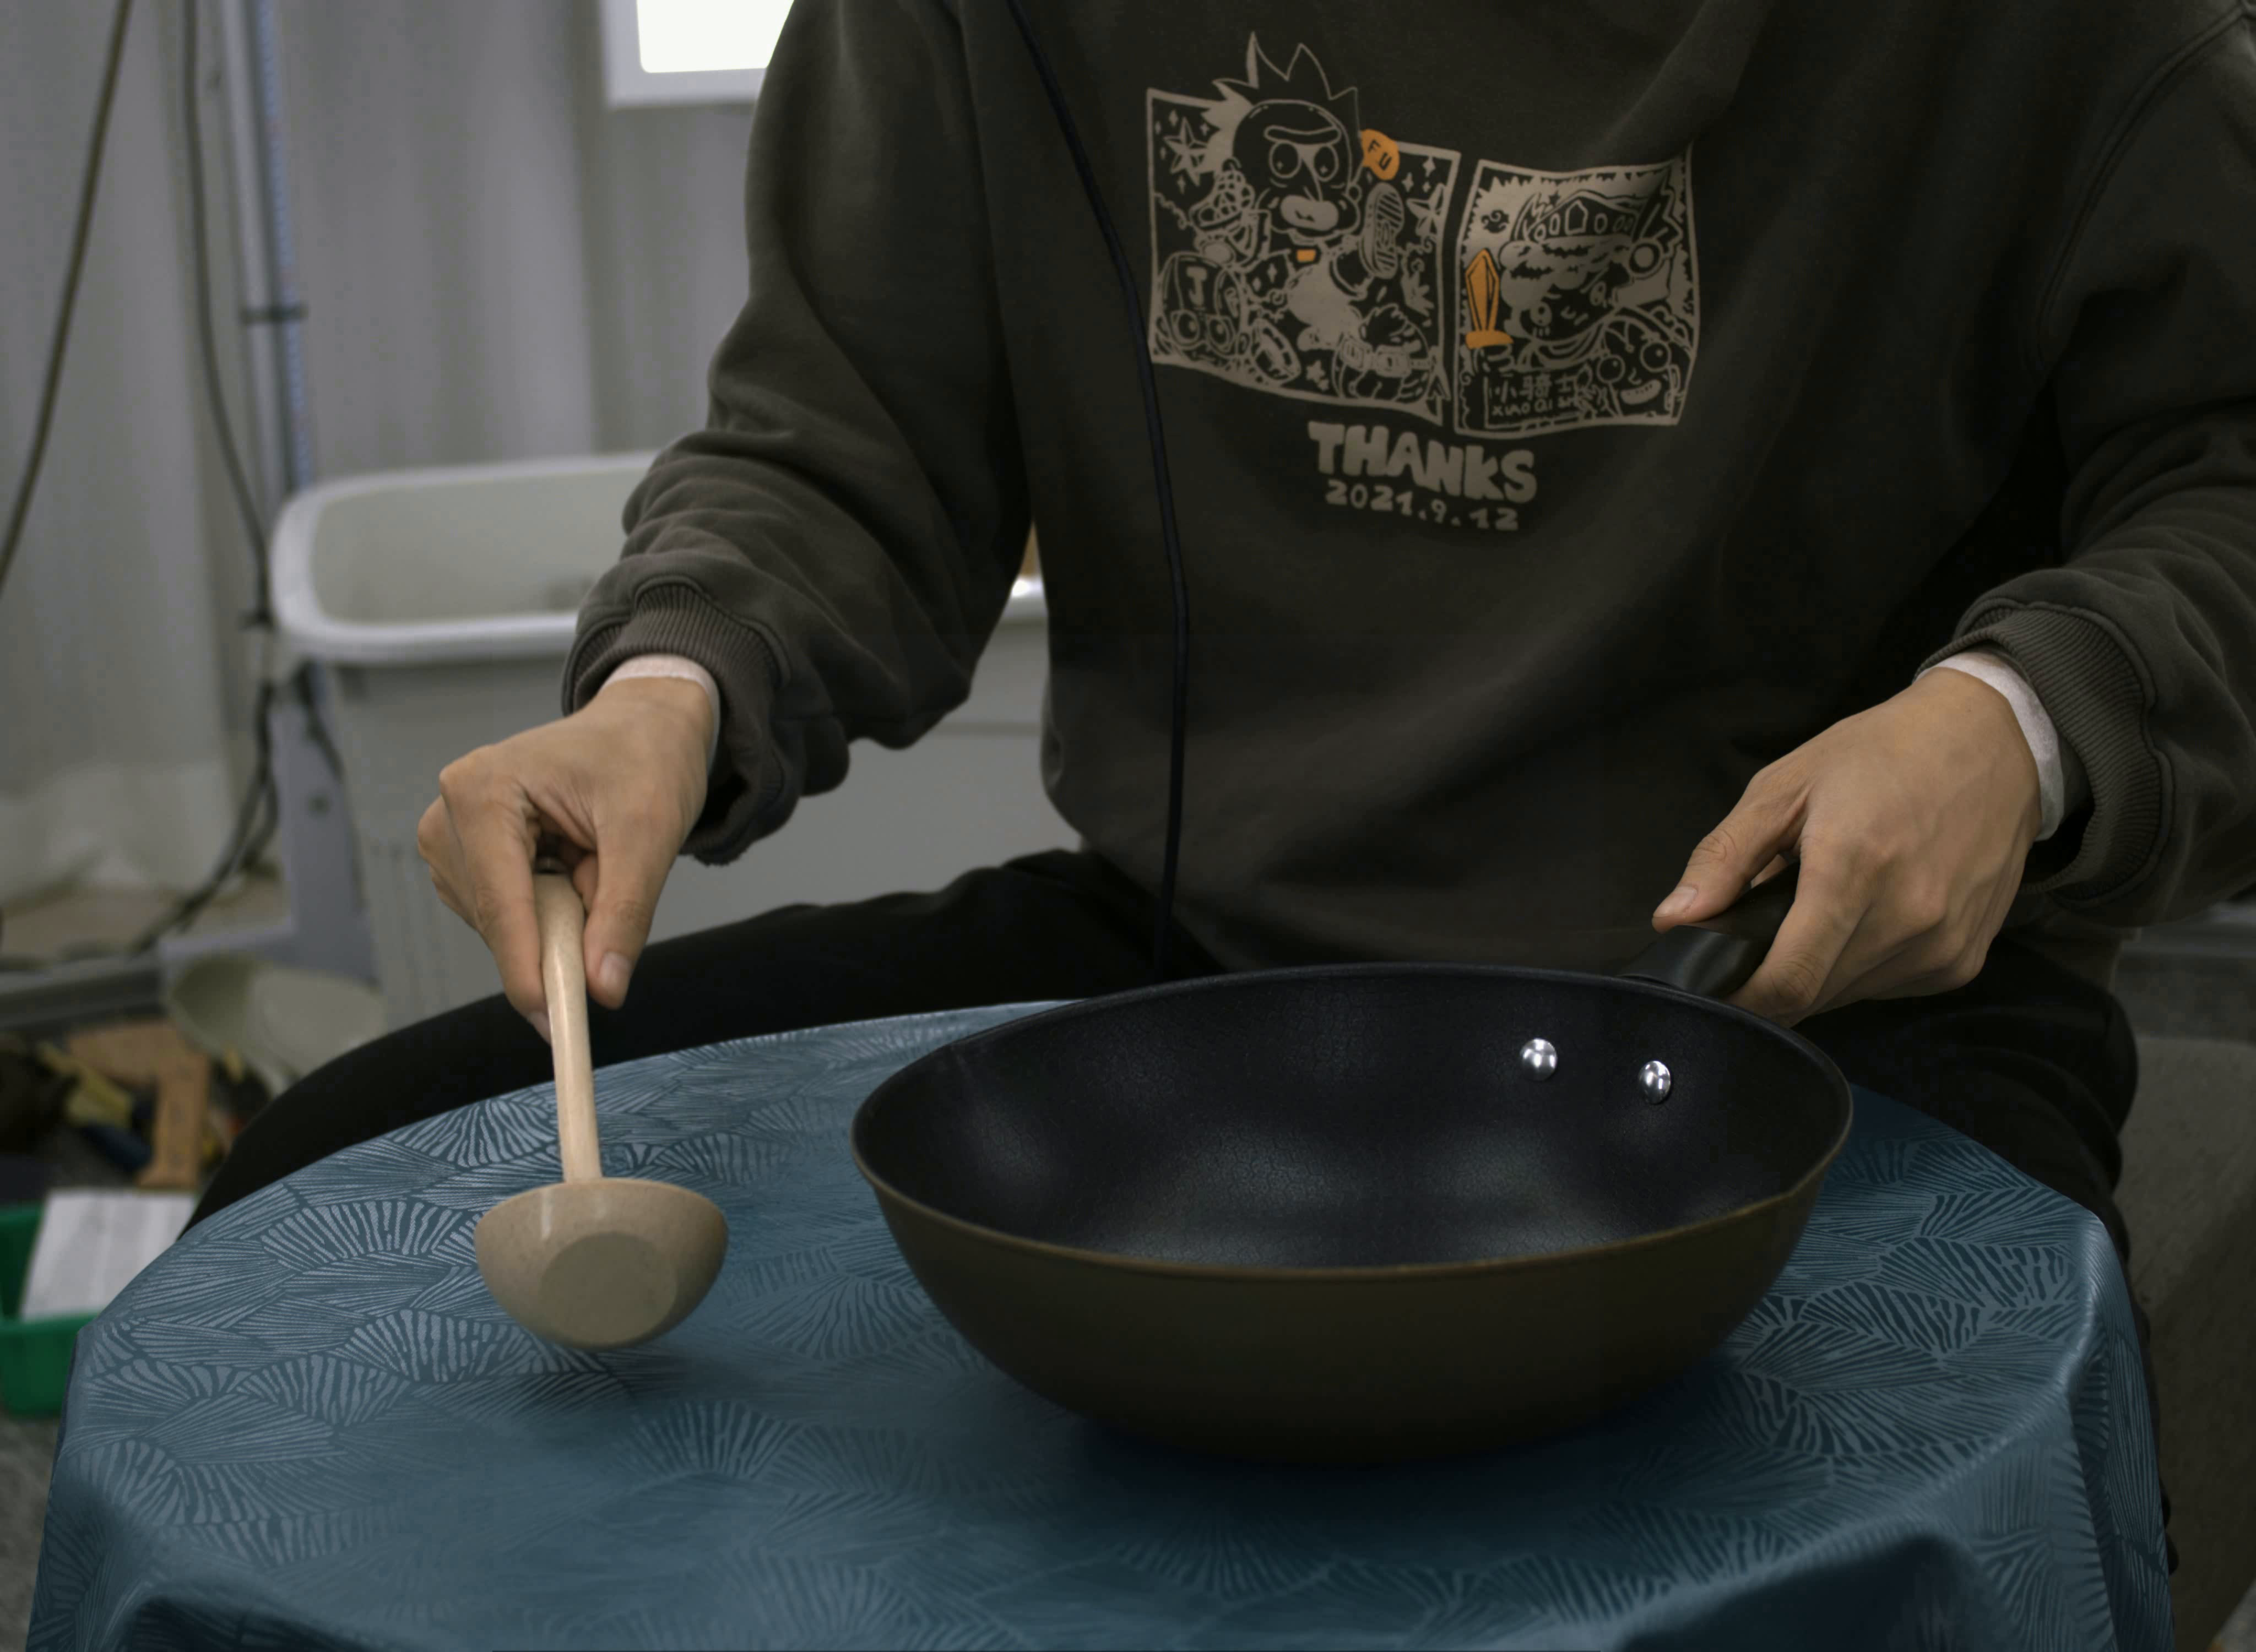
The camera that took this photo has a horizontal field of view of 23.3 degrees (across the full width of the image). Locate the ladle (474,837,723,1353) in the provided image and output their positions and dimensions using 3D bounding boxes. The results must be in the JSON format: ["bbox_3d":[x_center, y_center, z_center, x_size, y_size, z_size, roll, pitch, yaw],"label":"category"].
[{"bbox_3d":[-0.170,0.056,1.649,0.072,0.072,0.258,-4,39,-10],"label":"ladle"}]

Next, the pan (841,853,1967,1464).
[{"bbox_3d":[0.117,0.095,1.615,0.289,0.086,0.463,8,18,37],"label":"pan"}]
